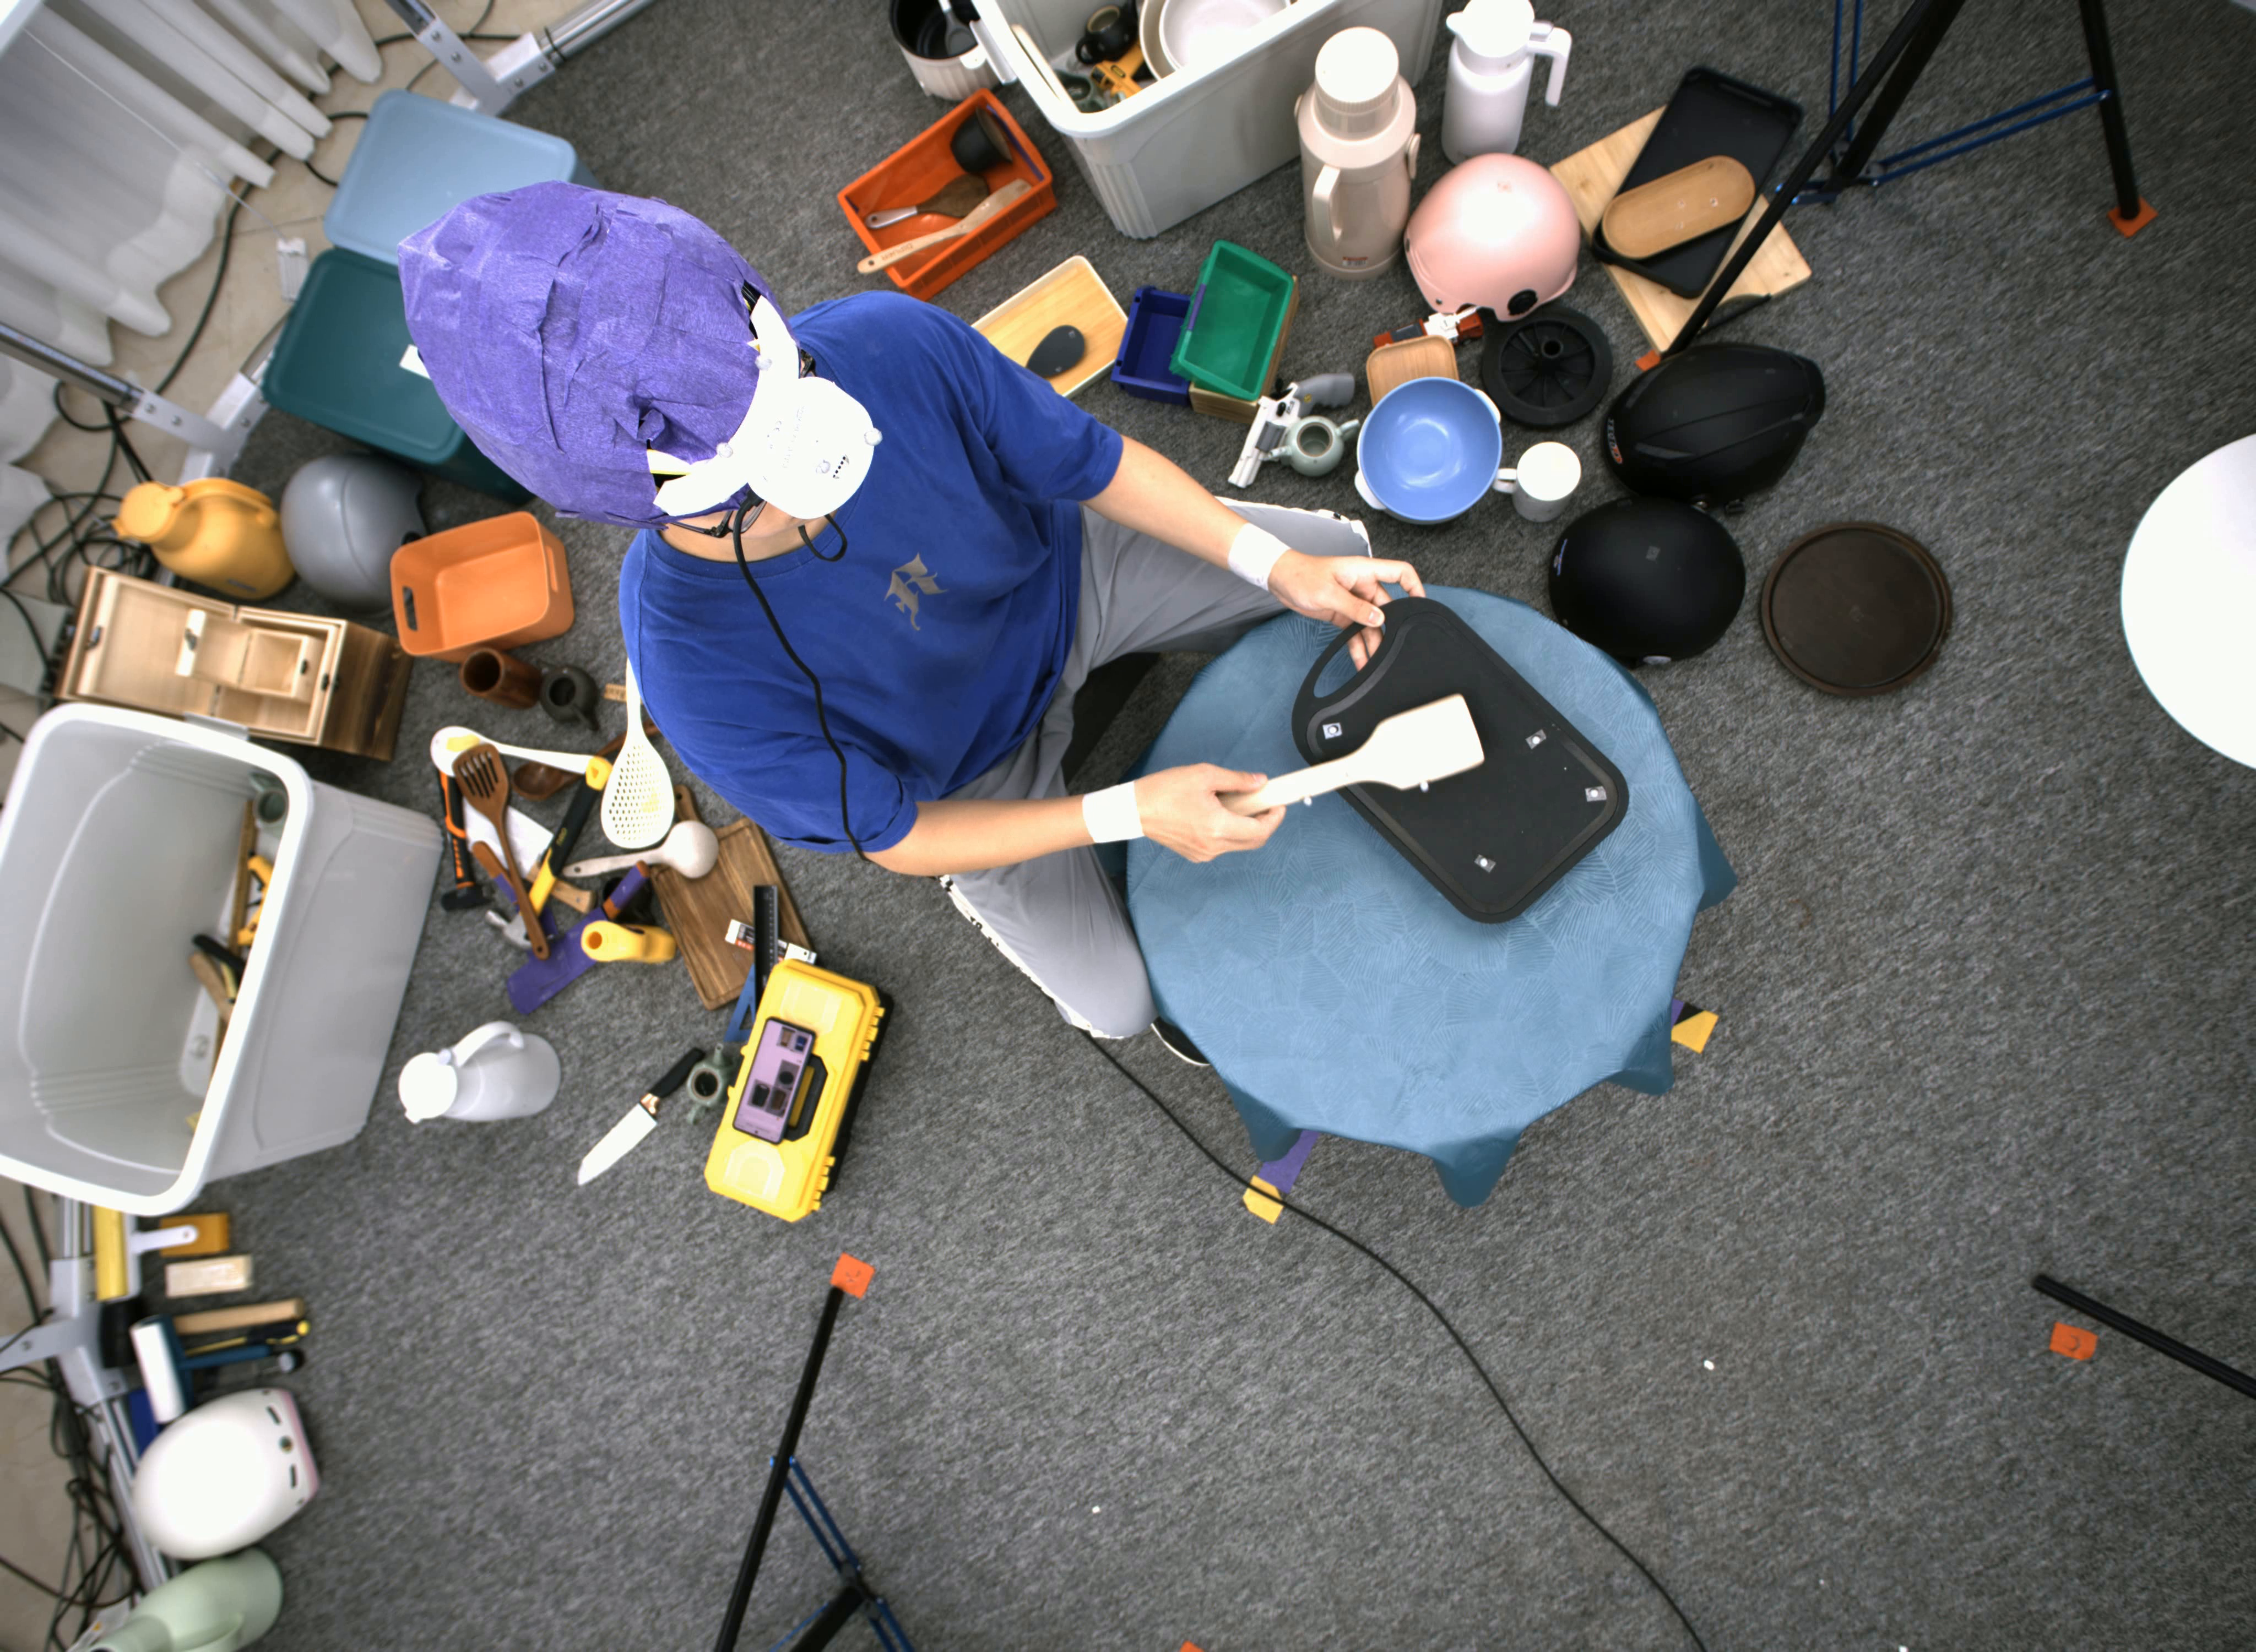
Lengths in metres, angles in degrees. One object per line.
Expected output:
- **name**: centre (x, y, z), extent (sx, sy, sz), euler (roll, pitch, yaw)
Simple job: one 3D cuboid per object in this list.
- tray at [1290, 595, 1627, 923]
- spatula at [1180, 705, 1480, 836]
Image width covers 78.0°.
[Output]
- **tray**: centre (0.314, -0.070, 1.351), extent (0.325, 0.009, 0.215), euler (45, 115, 3)
- **spatula**: centre (0.190, -0.044, 1.334), extent (0.294, 0.011, 0.071), euler (-18, 73, 9)
